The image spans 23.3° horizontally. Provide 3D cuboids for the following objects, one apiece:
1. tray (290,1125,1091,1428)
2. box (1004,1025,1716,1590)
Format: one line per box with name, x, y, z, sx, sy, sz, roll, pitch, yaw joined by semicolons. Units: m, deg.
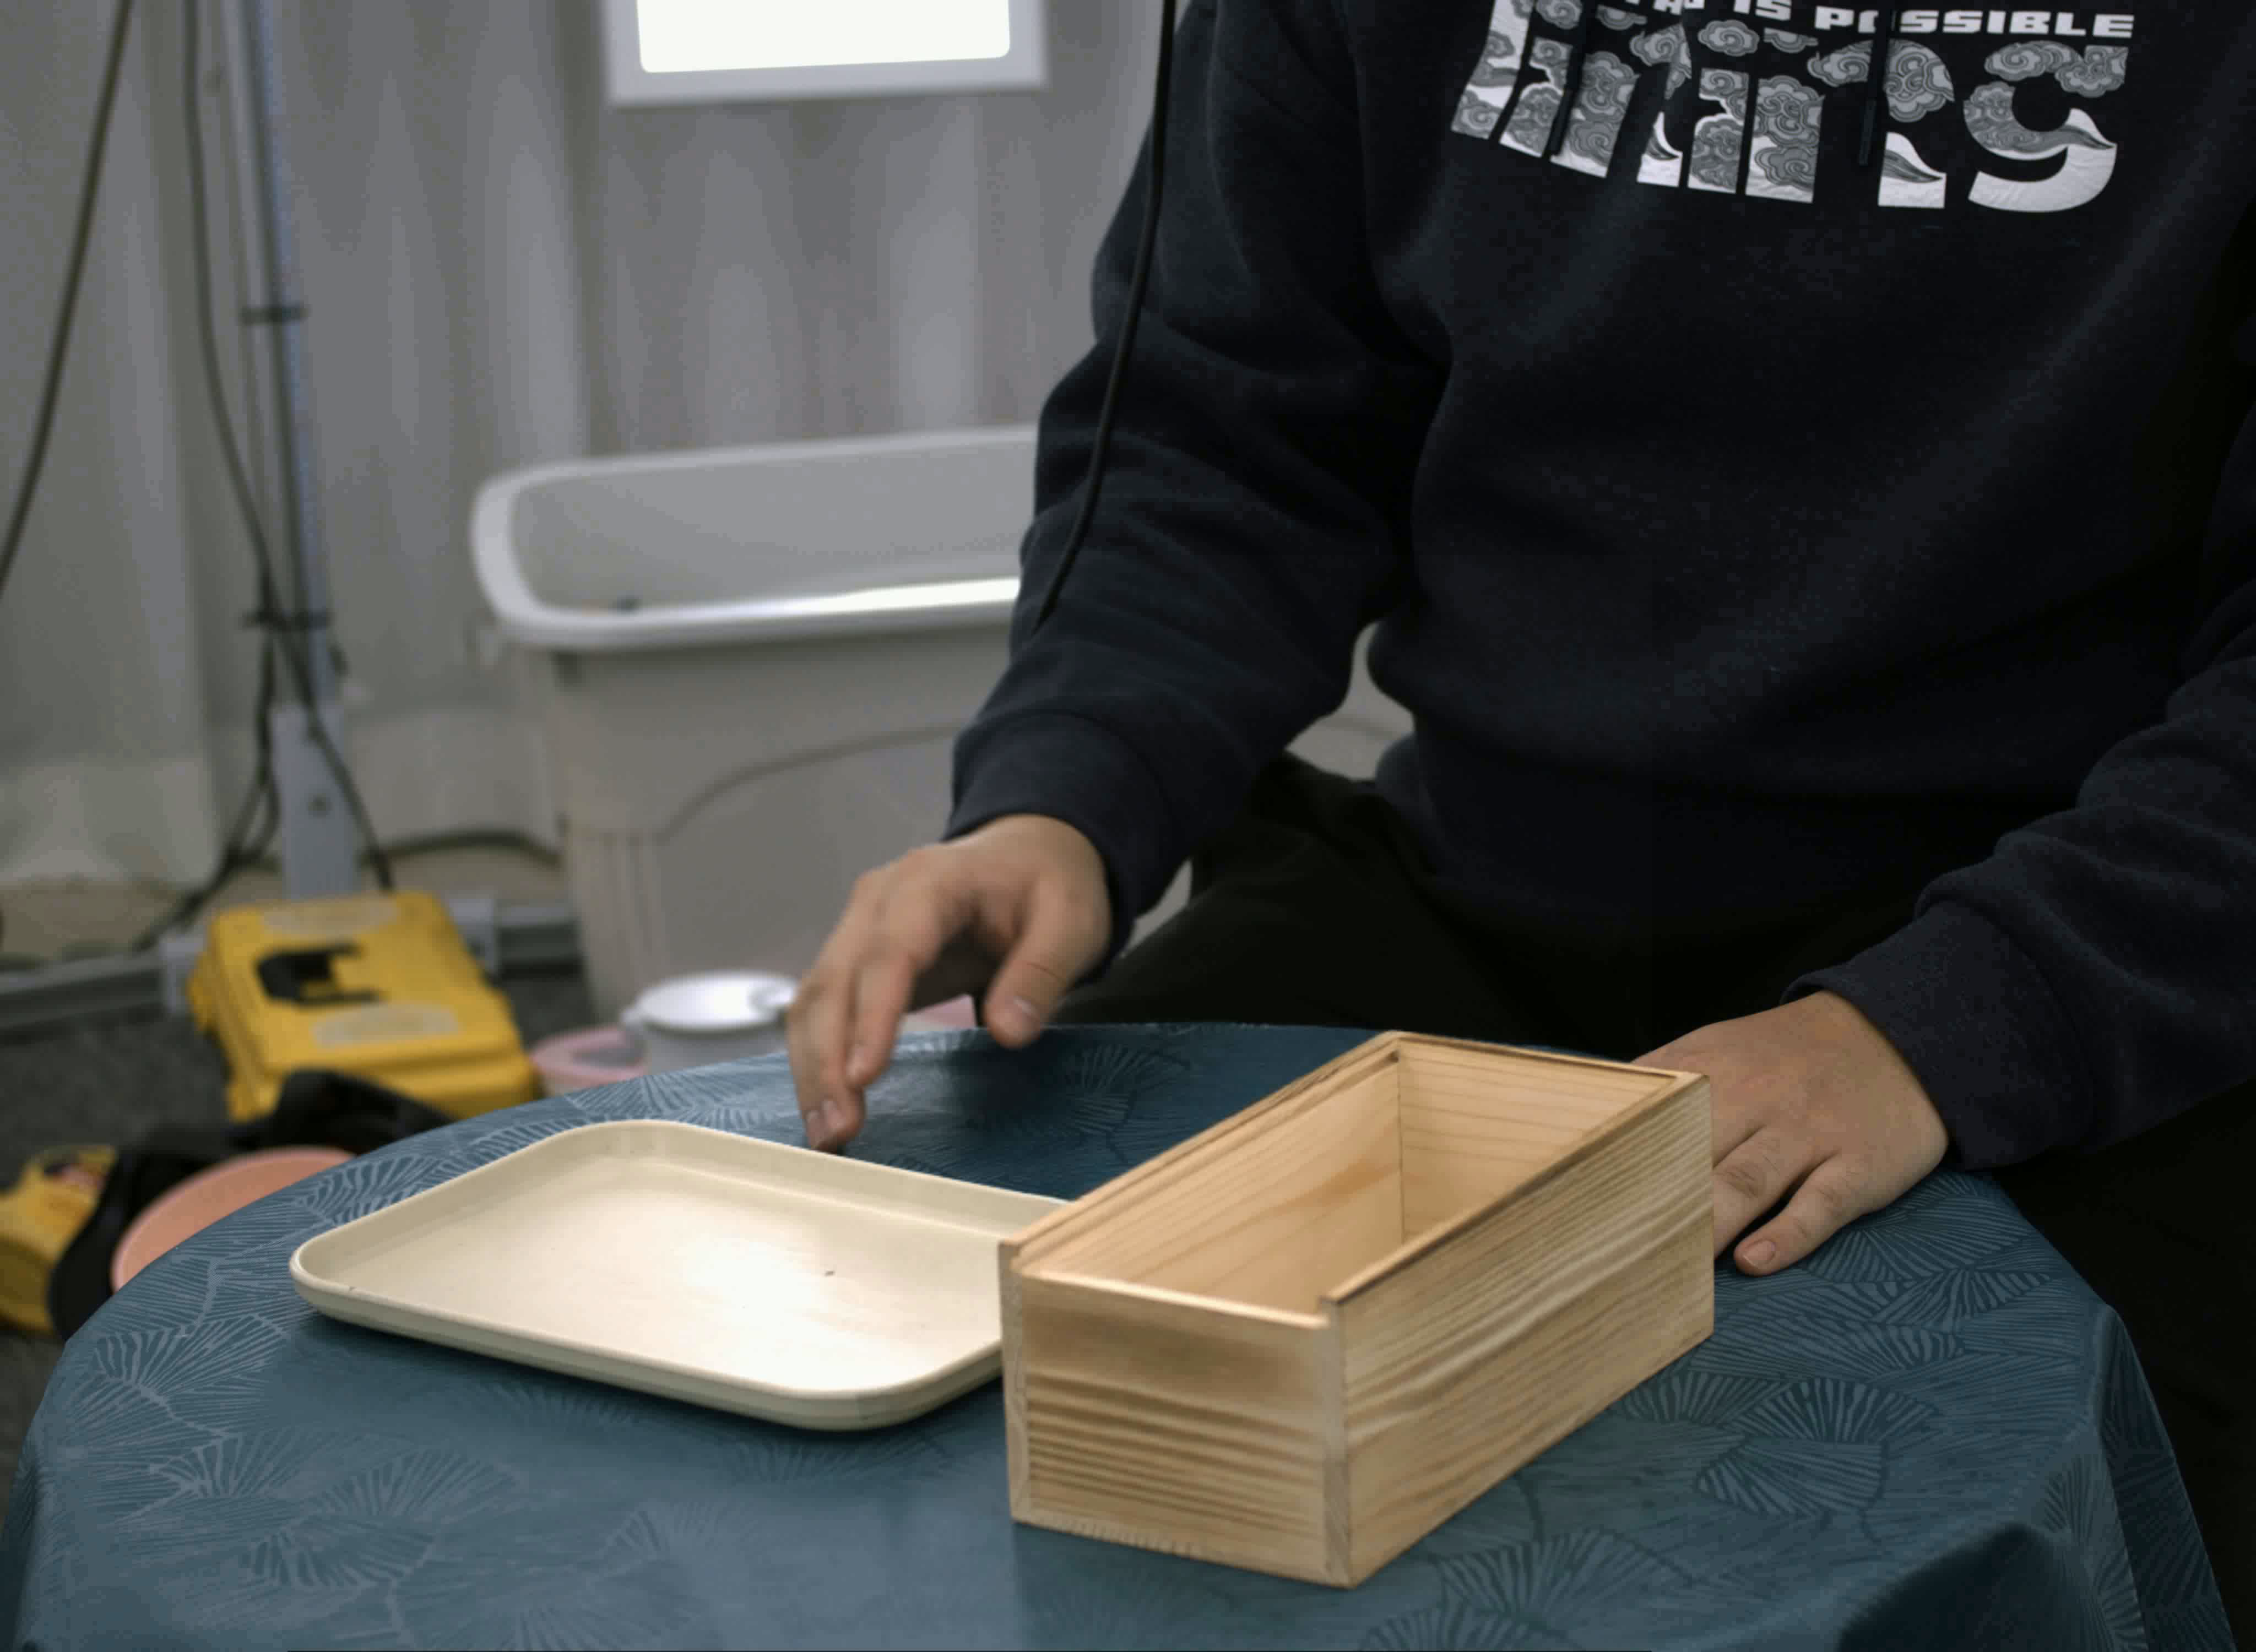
tray;-0.118;0.134;1.633;0.240;0.017;0.171;8;18;35
box;0.068;0.127;1.503;0.108;0.080;0.211;7;17;31
